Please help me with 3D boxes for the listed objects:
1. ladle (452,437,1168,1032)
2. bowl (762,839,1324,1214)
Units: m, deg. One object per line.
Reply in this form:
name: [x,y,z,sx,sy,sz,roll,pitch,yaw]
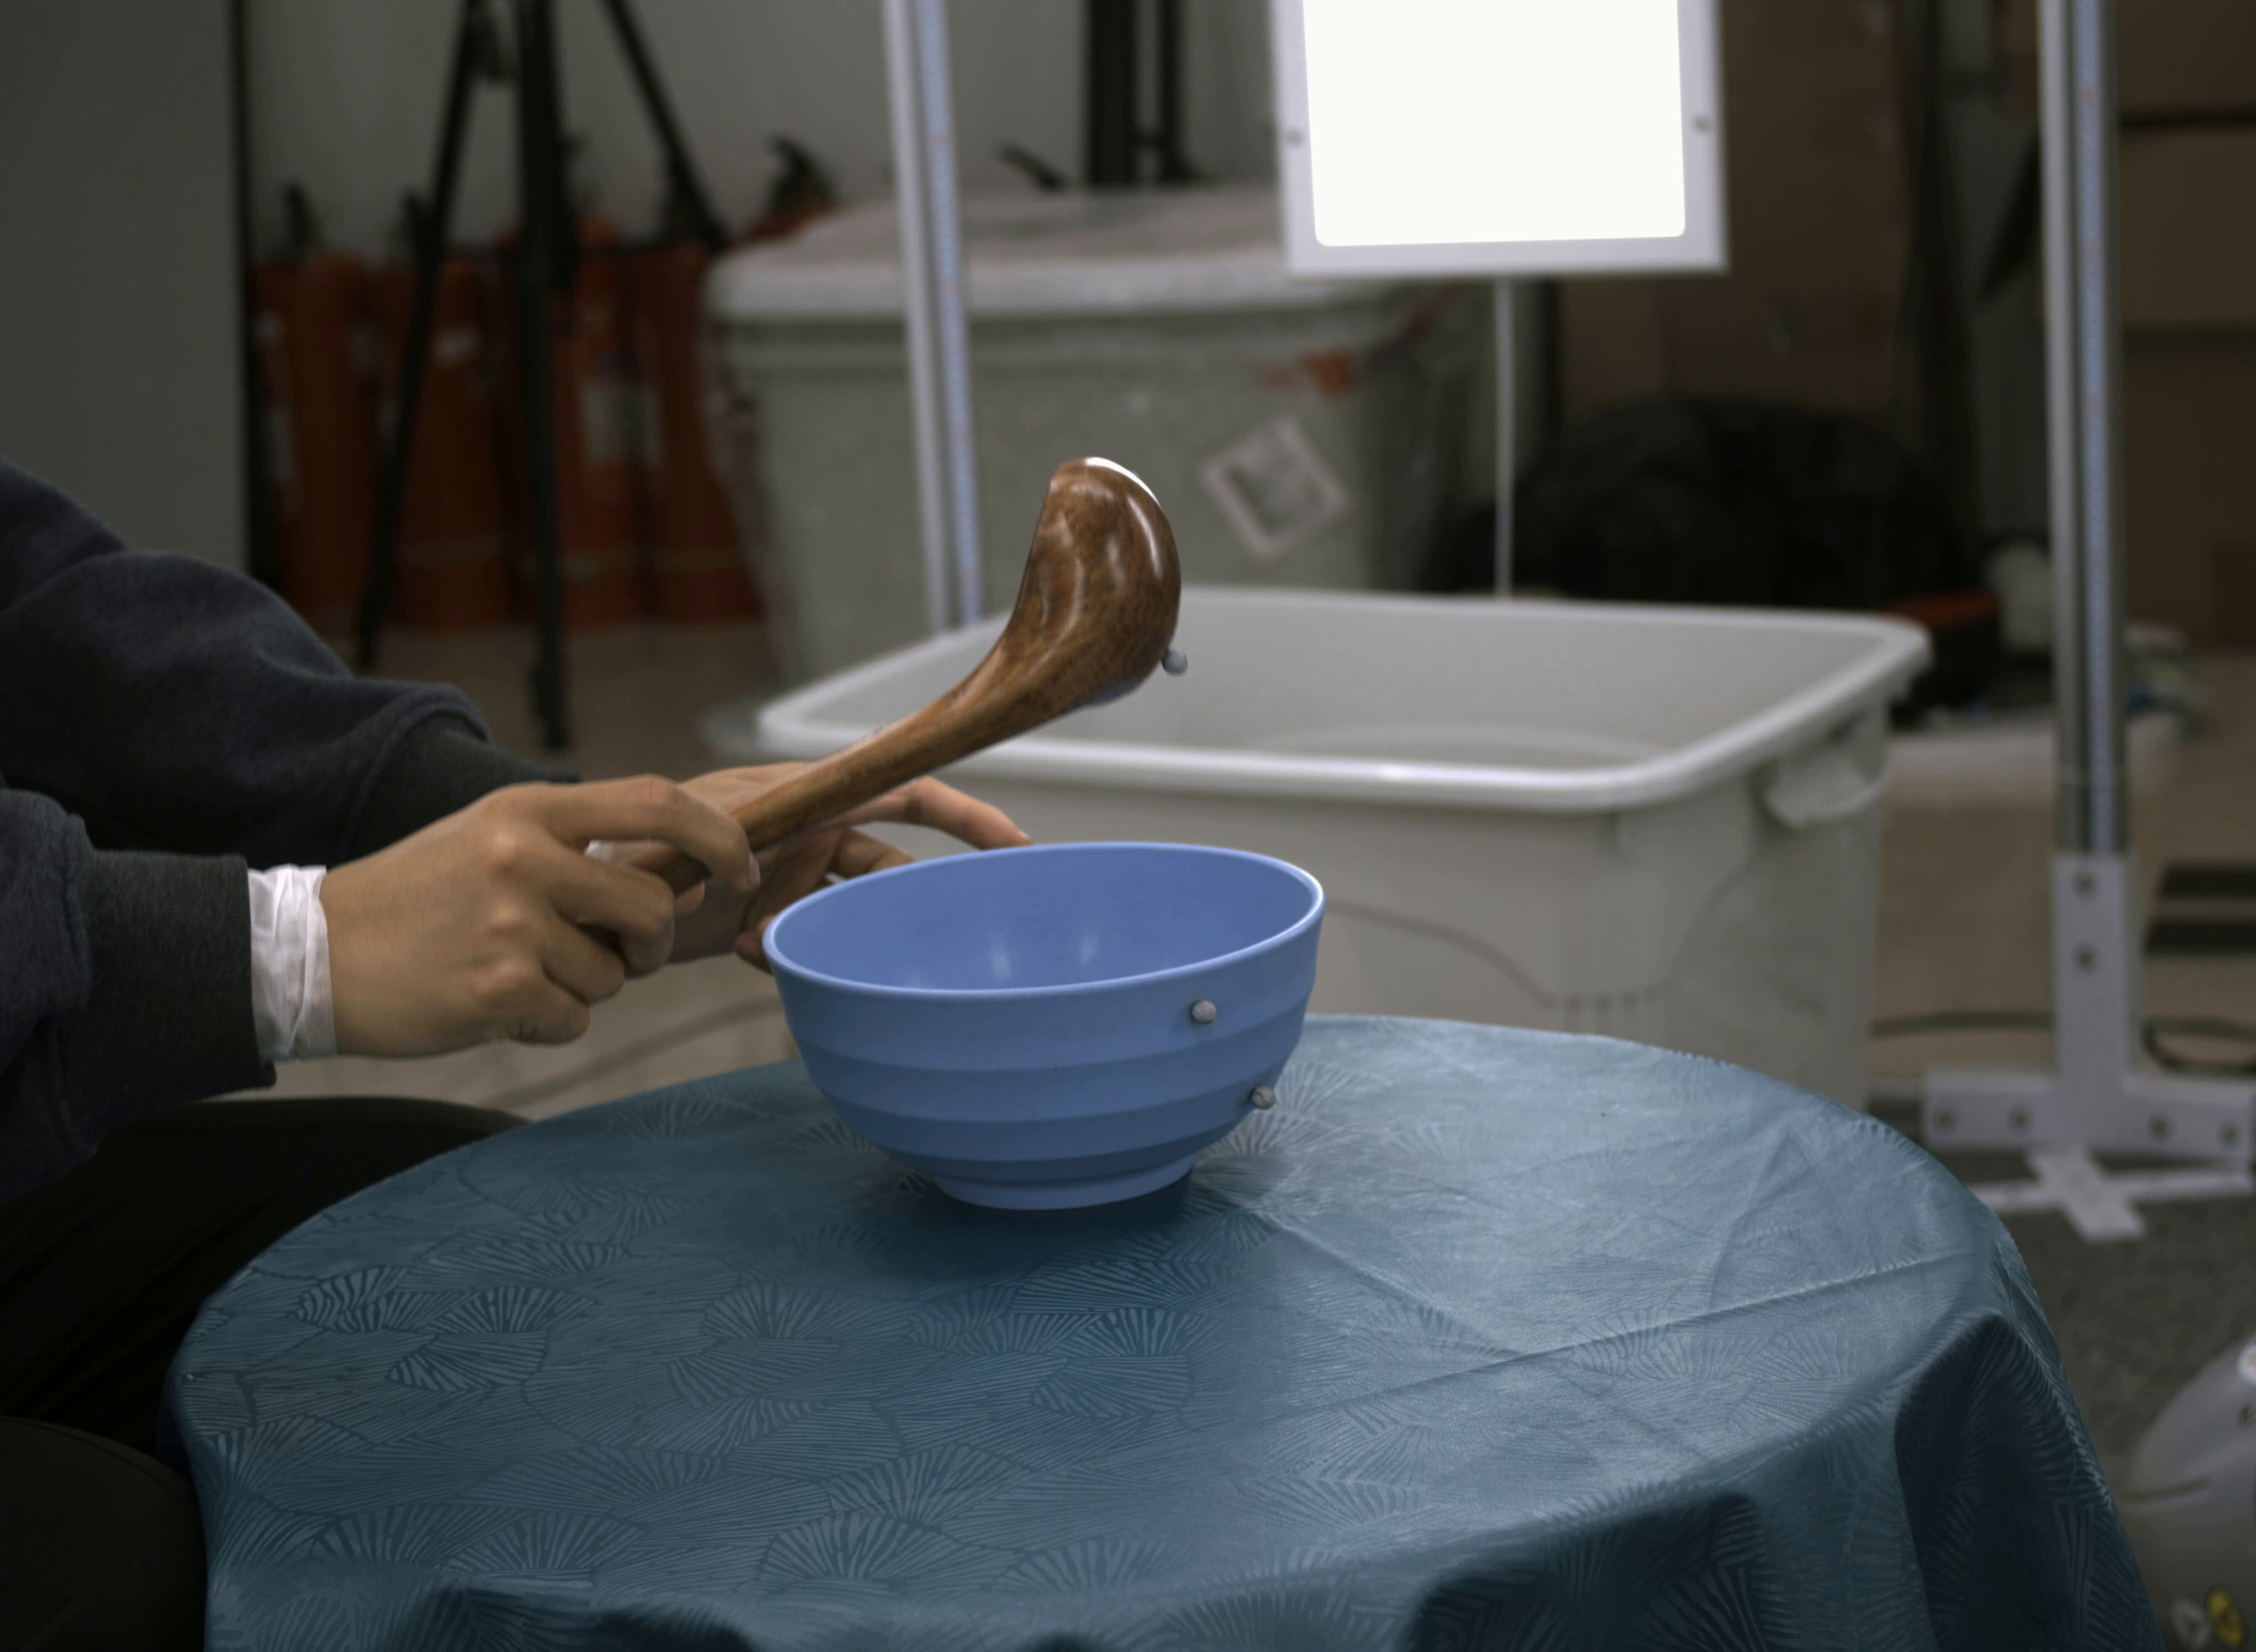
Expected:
ladle: [-0.104,-0.031,1.750,0.273,0.081,0.077,-30,41,-4]
bowl: [-0.025,0.076,1.917,0.196,0.096,0.196,-6,14,0]
